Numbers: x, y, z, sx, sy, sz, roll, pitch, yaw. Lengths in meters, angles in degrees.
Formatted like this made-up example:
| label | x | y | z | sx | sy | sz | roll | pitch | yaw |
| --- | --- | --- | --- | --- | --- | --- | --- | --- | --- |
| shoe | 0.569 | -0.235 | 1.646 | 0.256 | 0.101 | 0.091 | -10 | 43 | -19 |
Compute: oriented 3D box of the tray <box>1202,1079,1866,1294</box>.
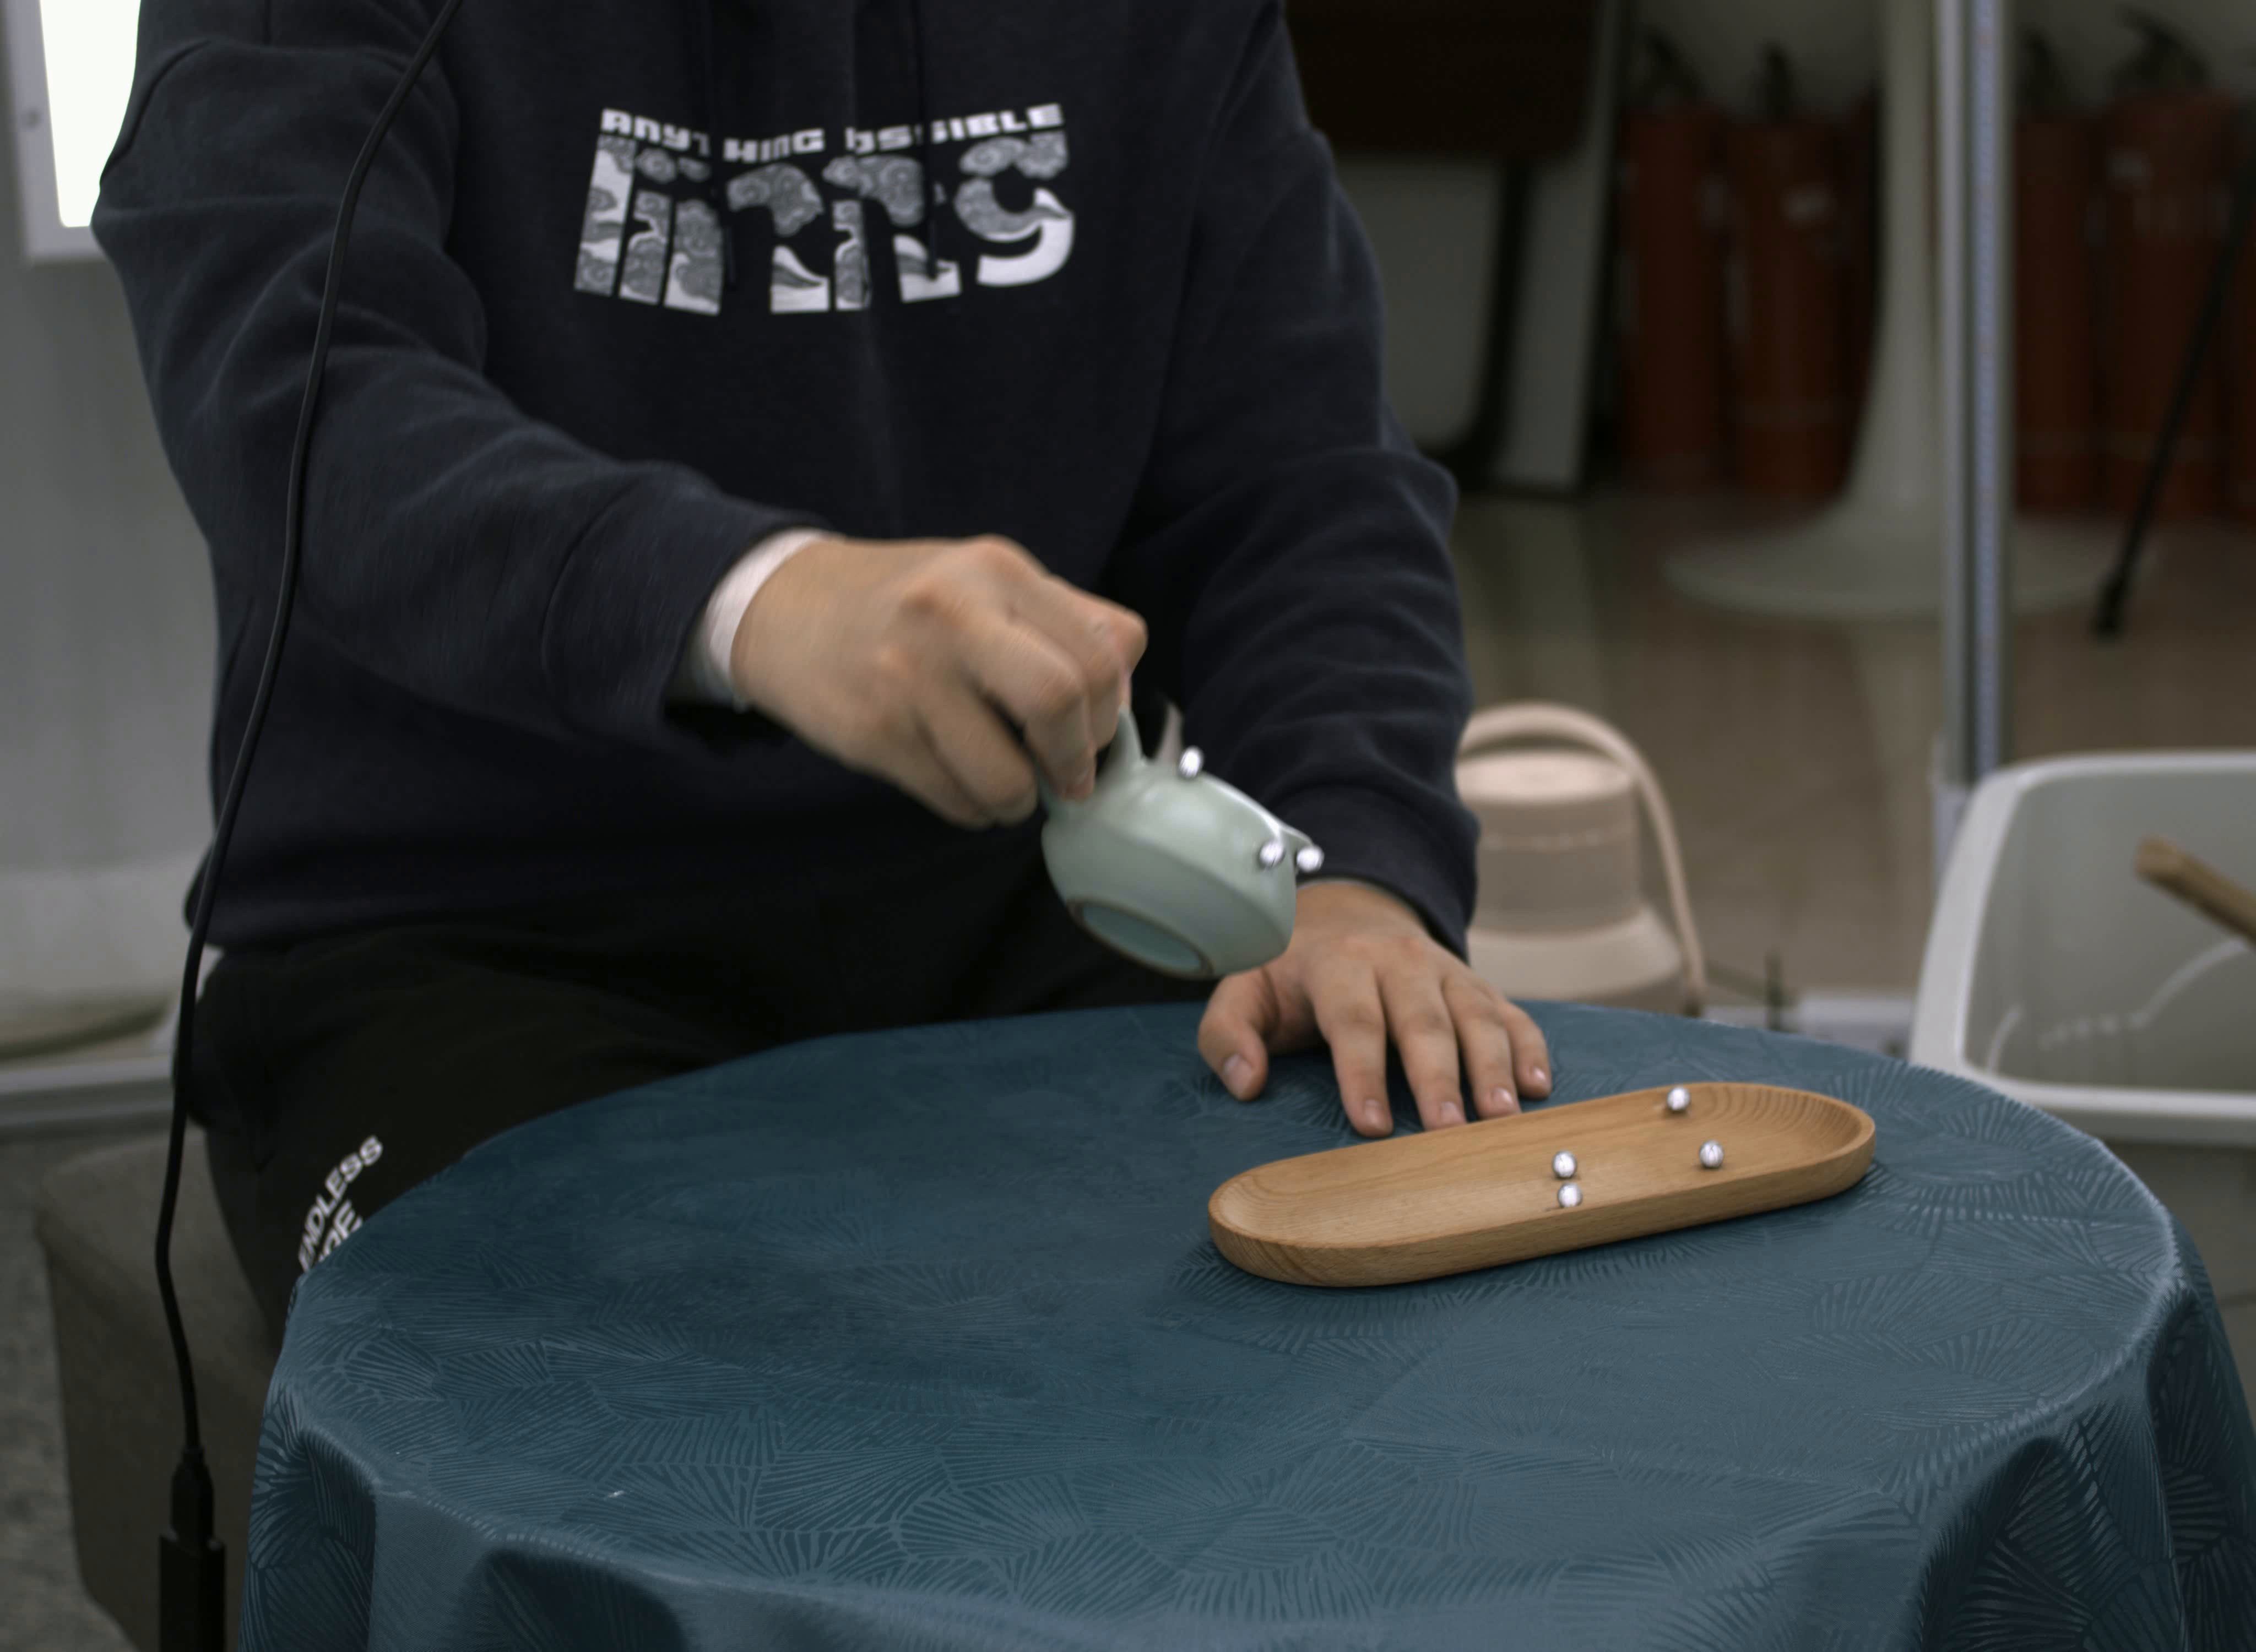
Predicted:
| label | x | y | z | sx | sy | sz | roll | pitch | yaw |
| --- | --- | --- | --- | --- | --- | --- | --- | --- | --- |
| tray | 0.132 | 0.115 | 1.728 | 0.226 | 0.020 | 0.102 | -12 | 14 | -22 |

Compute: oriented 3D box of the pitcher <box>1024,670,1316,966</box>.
| label | x | y | z | sx | sy | sz | roll | pitch | yaw |
| --- | --- | --- | --- | --- | --- | --- | --- | --- | --- |
| pitcher | 0.008 | 0.000 | 1.659 | 0.106 | 0.060 | 0.087 | 36 | -20 | -27 |
